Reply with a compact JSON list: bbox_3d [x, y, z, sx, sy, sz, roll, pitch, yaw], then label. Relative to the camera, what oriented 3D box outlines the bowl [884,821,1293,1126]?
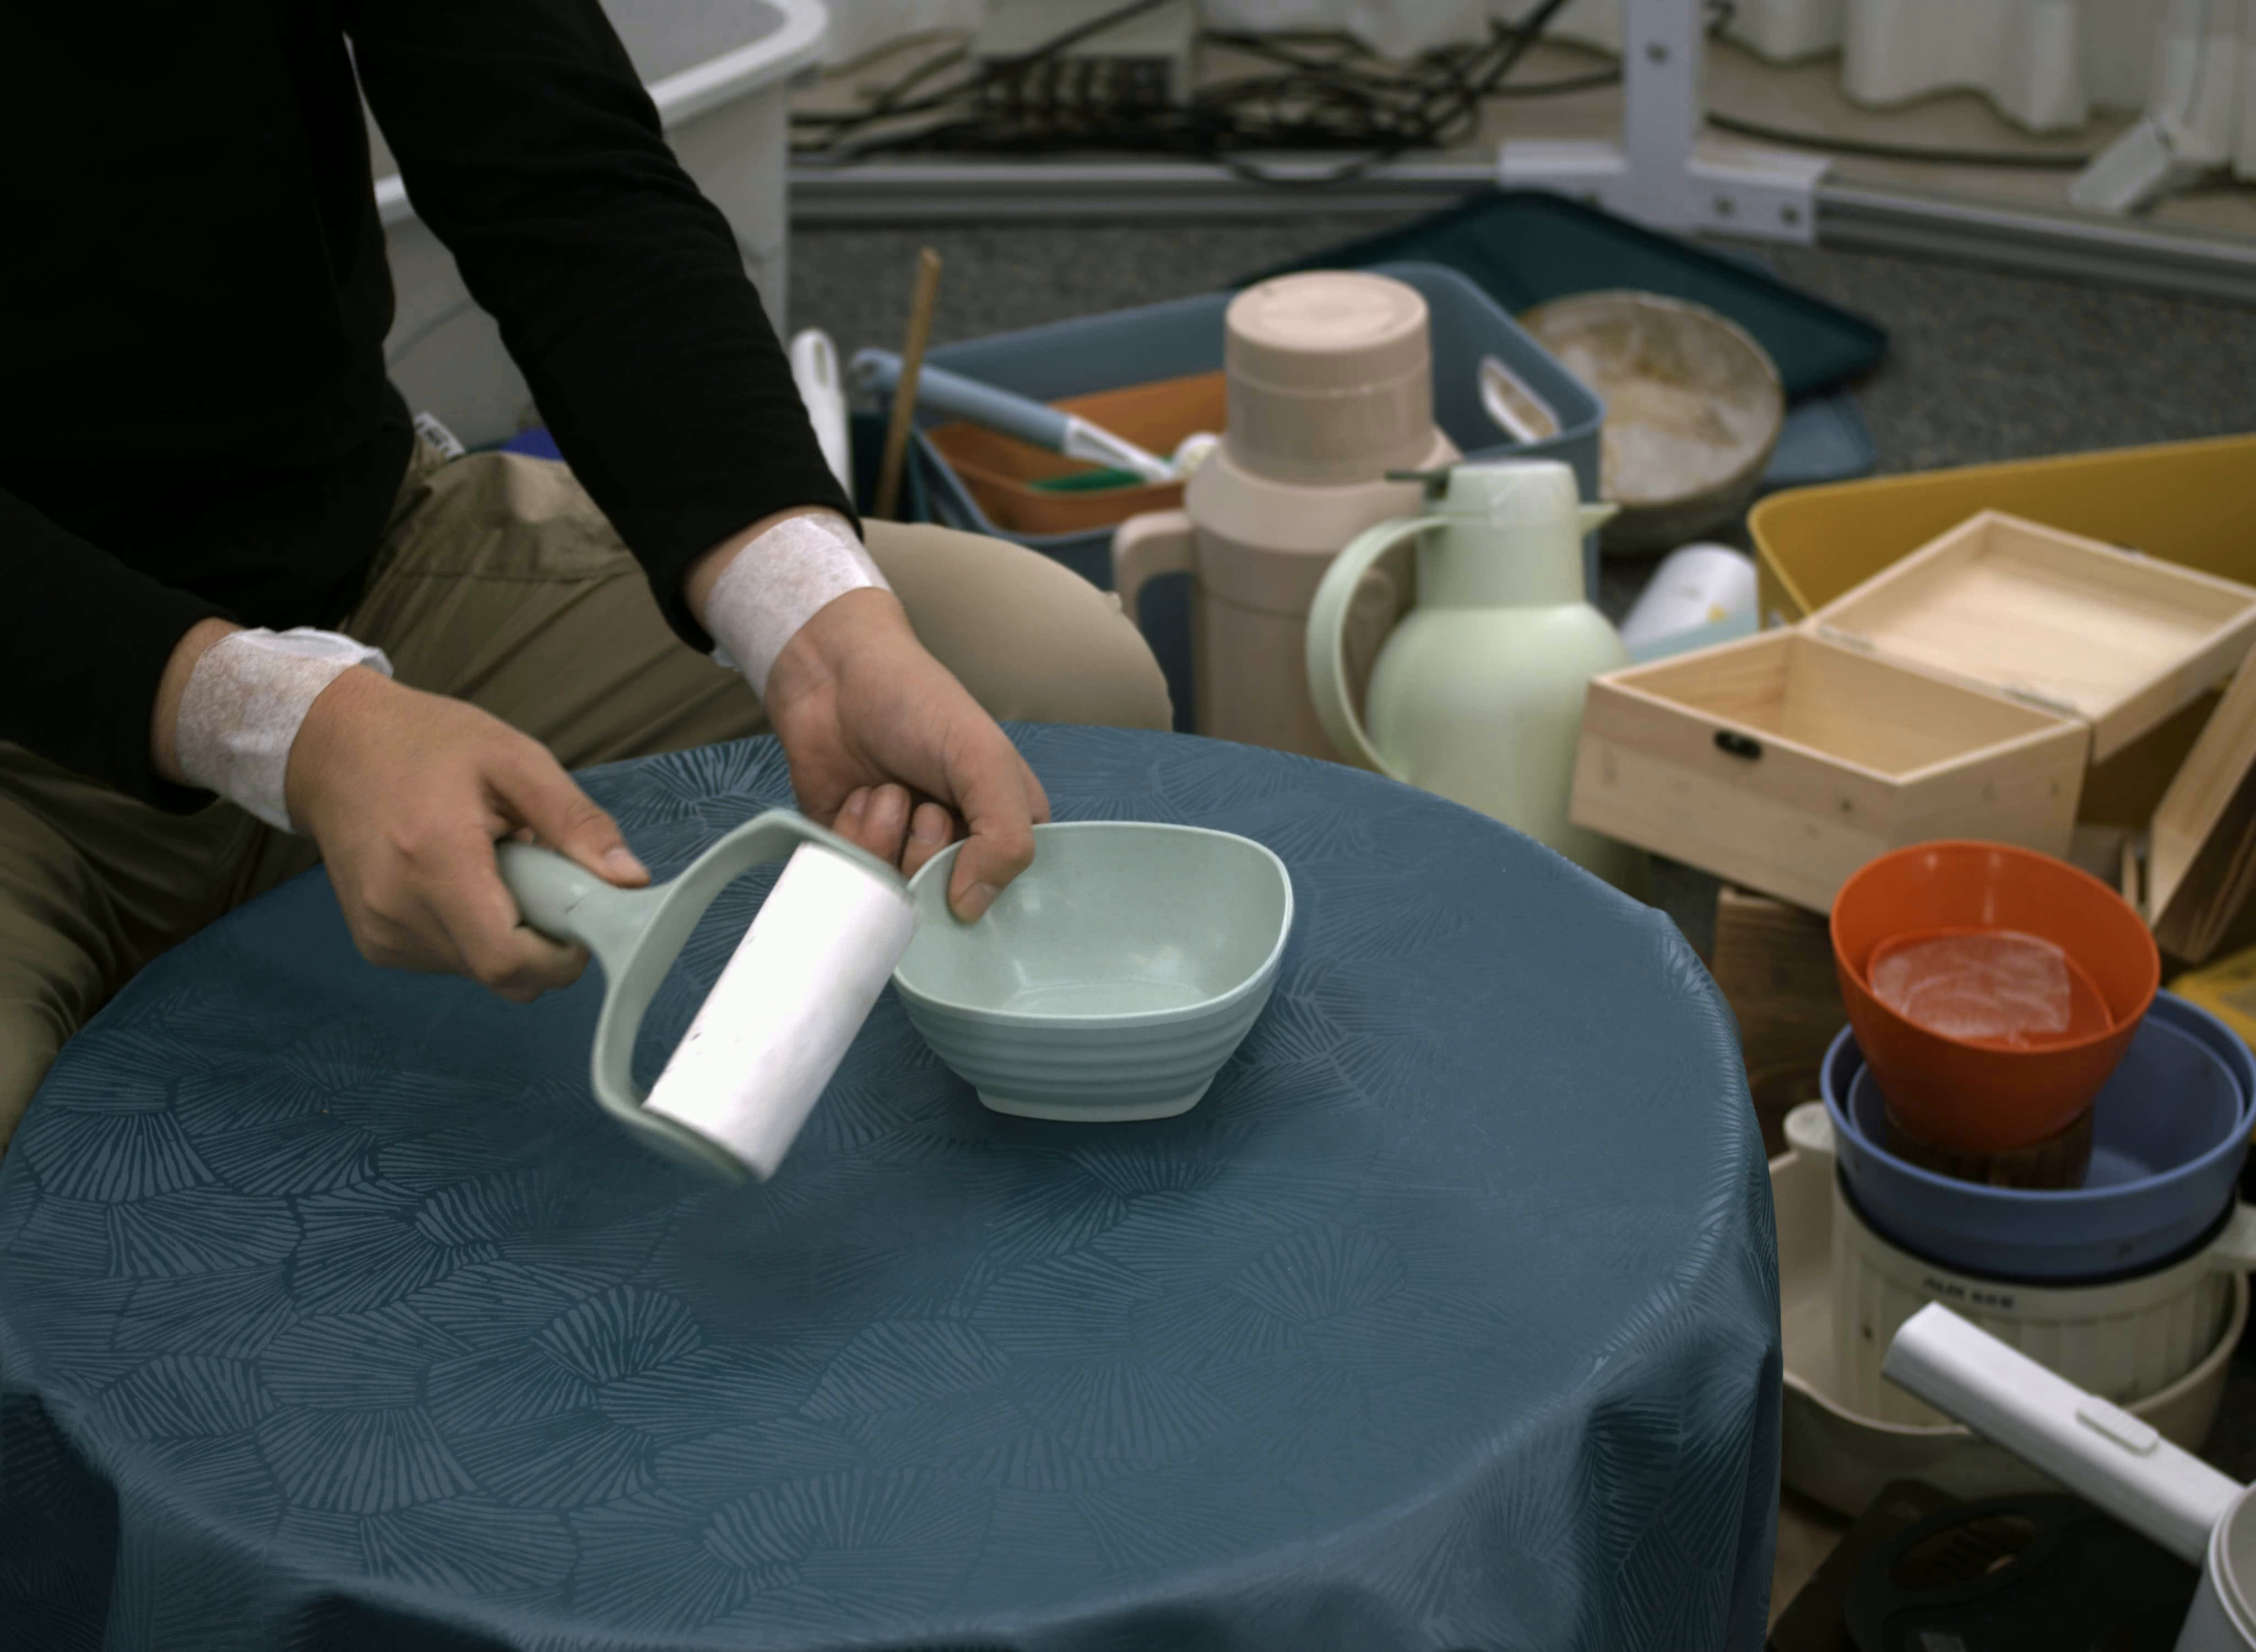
[{"bbox_3d":[-0.012,0.057,1.928,0.151,0.058,0.154,-1,28,1],"label":"bowl"}]

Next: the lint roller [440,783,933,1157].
[{"bbox_3d":[-0.160,0.028,1.847,0.197,0.048,0.118,21,76,36],"label":"lint roller"}]
